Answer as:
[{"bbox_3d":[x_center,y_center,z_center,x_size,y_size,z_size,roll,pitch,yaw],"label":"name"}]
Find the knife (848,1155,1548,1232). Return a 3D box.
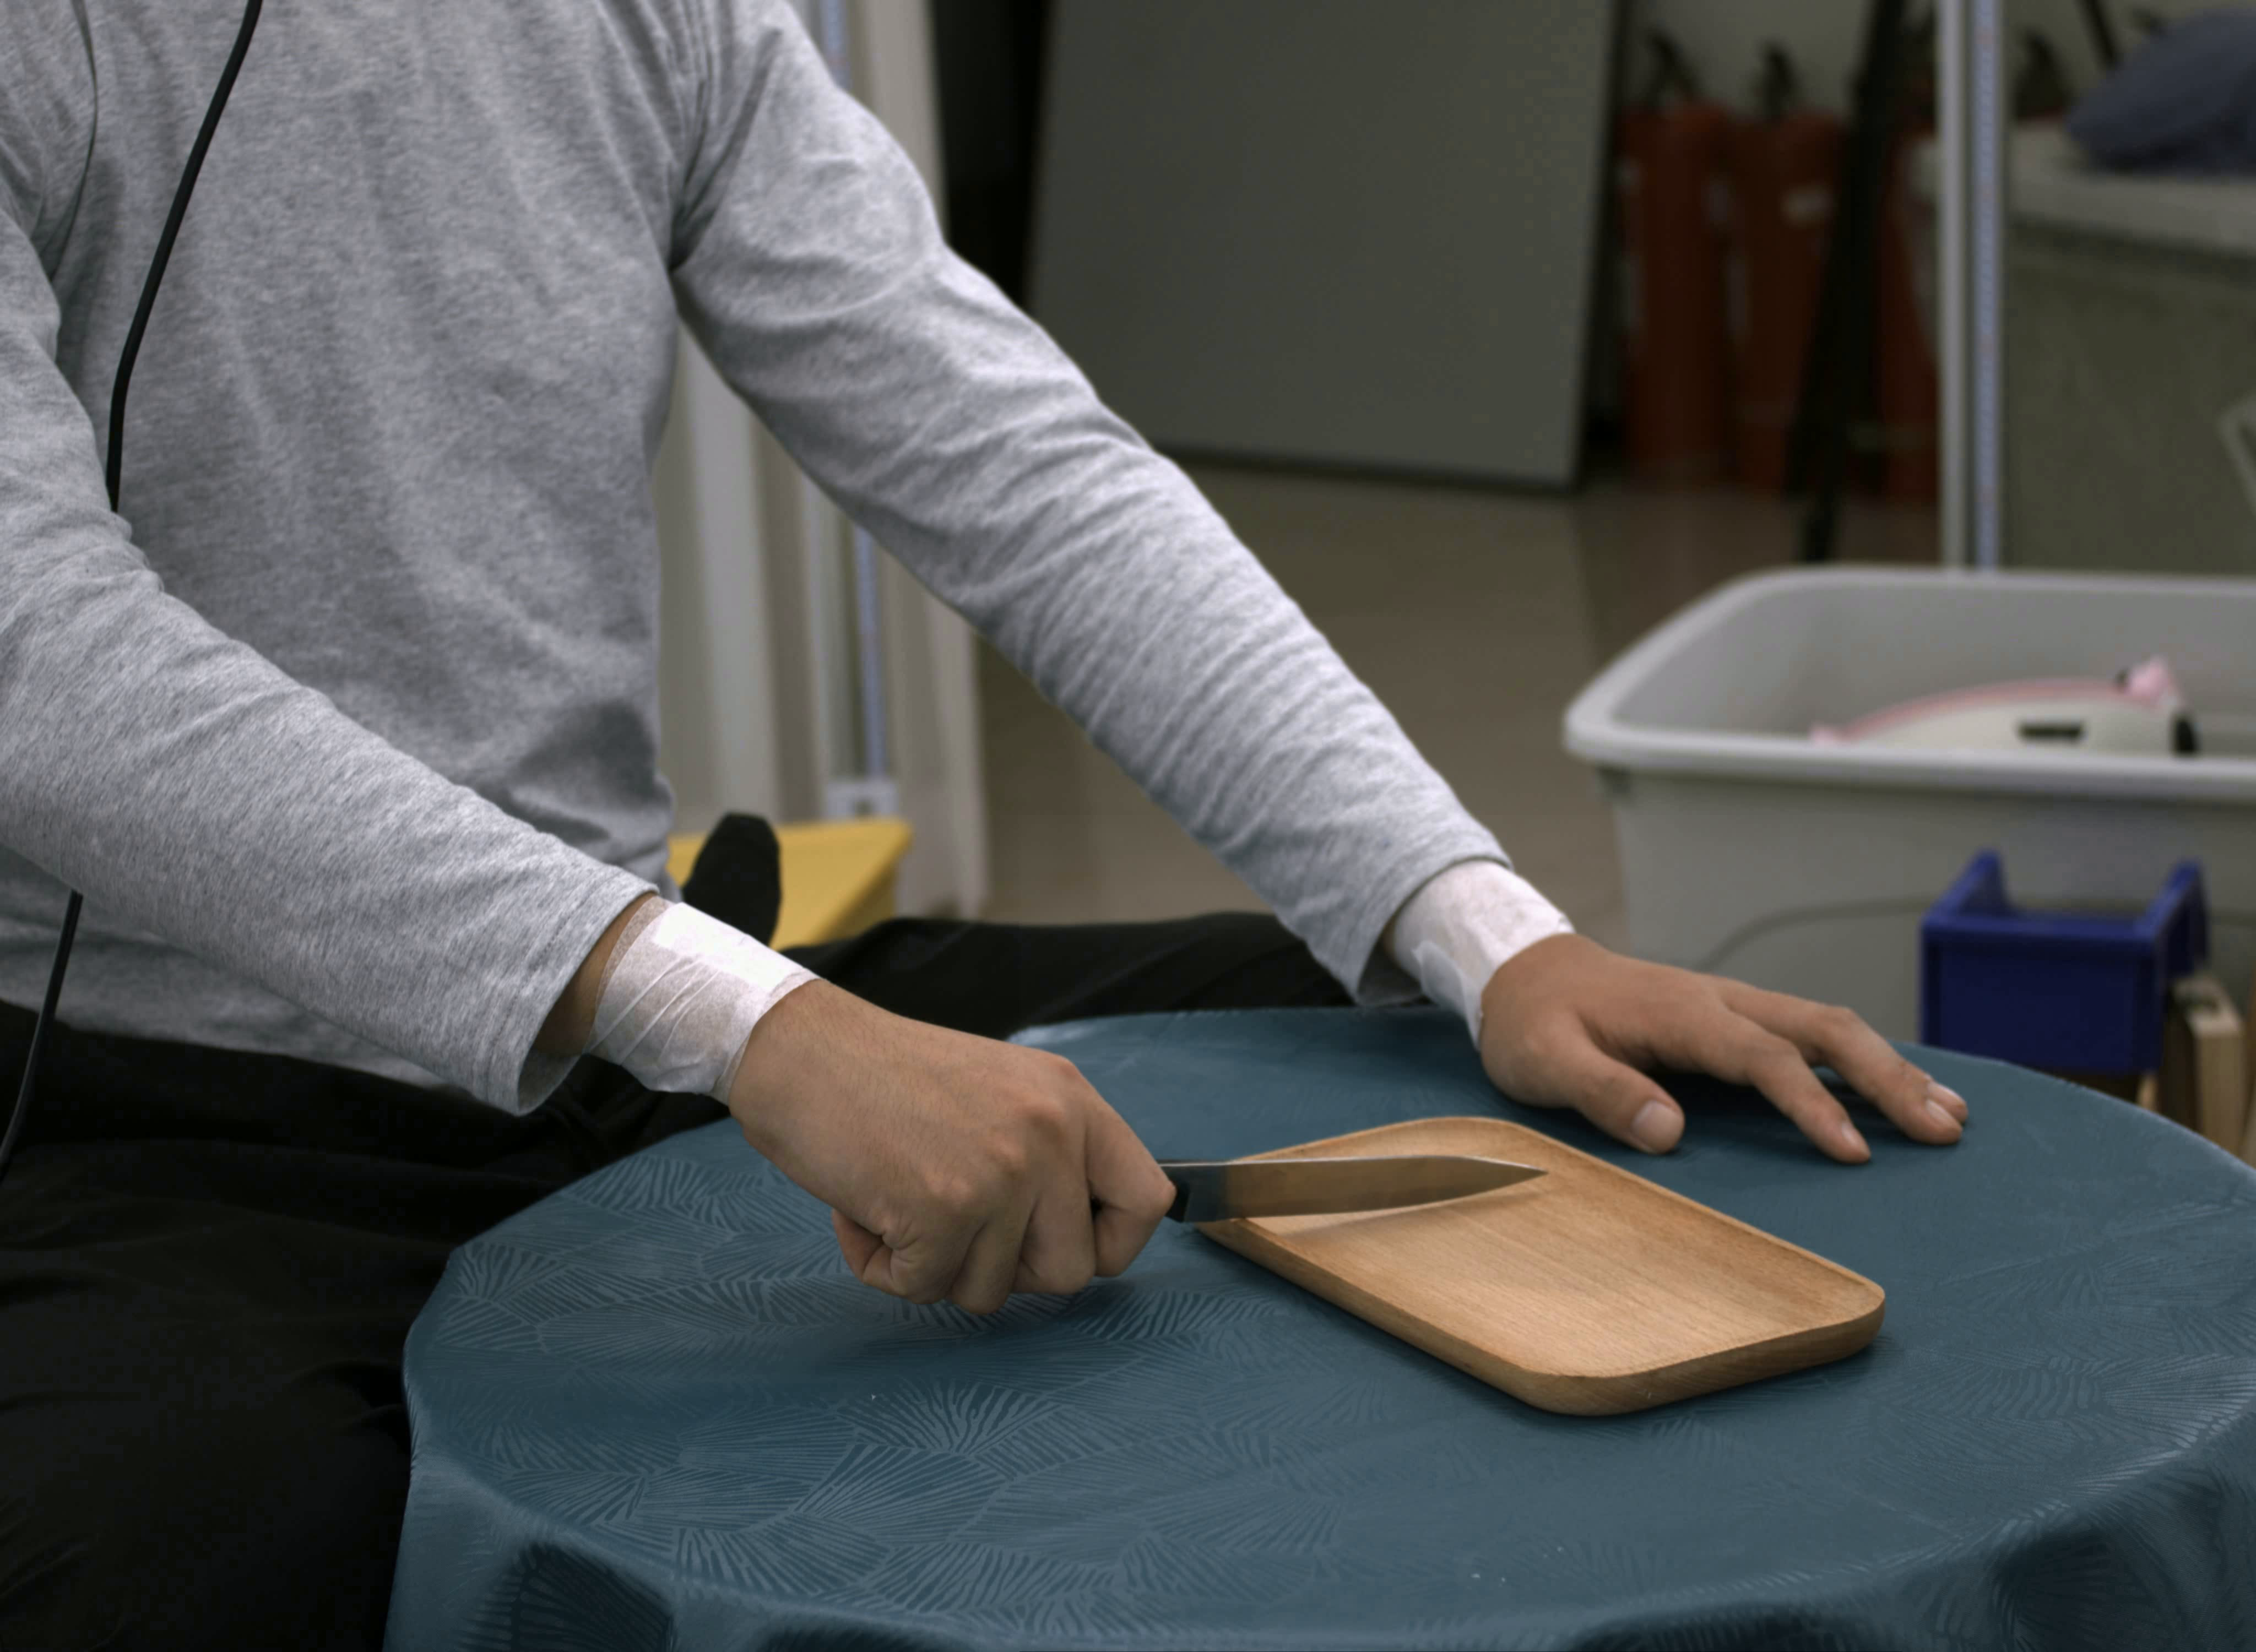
[{"bbox_3d":[0.026,0.113,1.681,0.233,0.025,0.016,0,27,-20],"label":"knife"}]

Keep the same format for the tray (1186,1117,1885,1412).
[{"bbox_3d":[0.121,0.132,1.658,0.127,0.023,0.253,-7,13,-25],"label":"tray"}]
